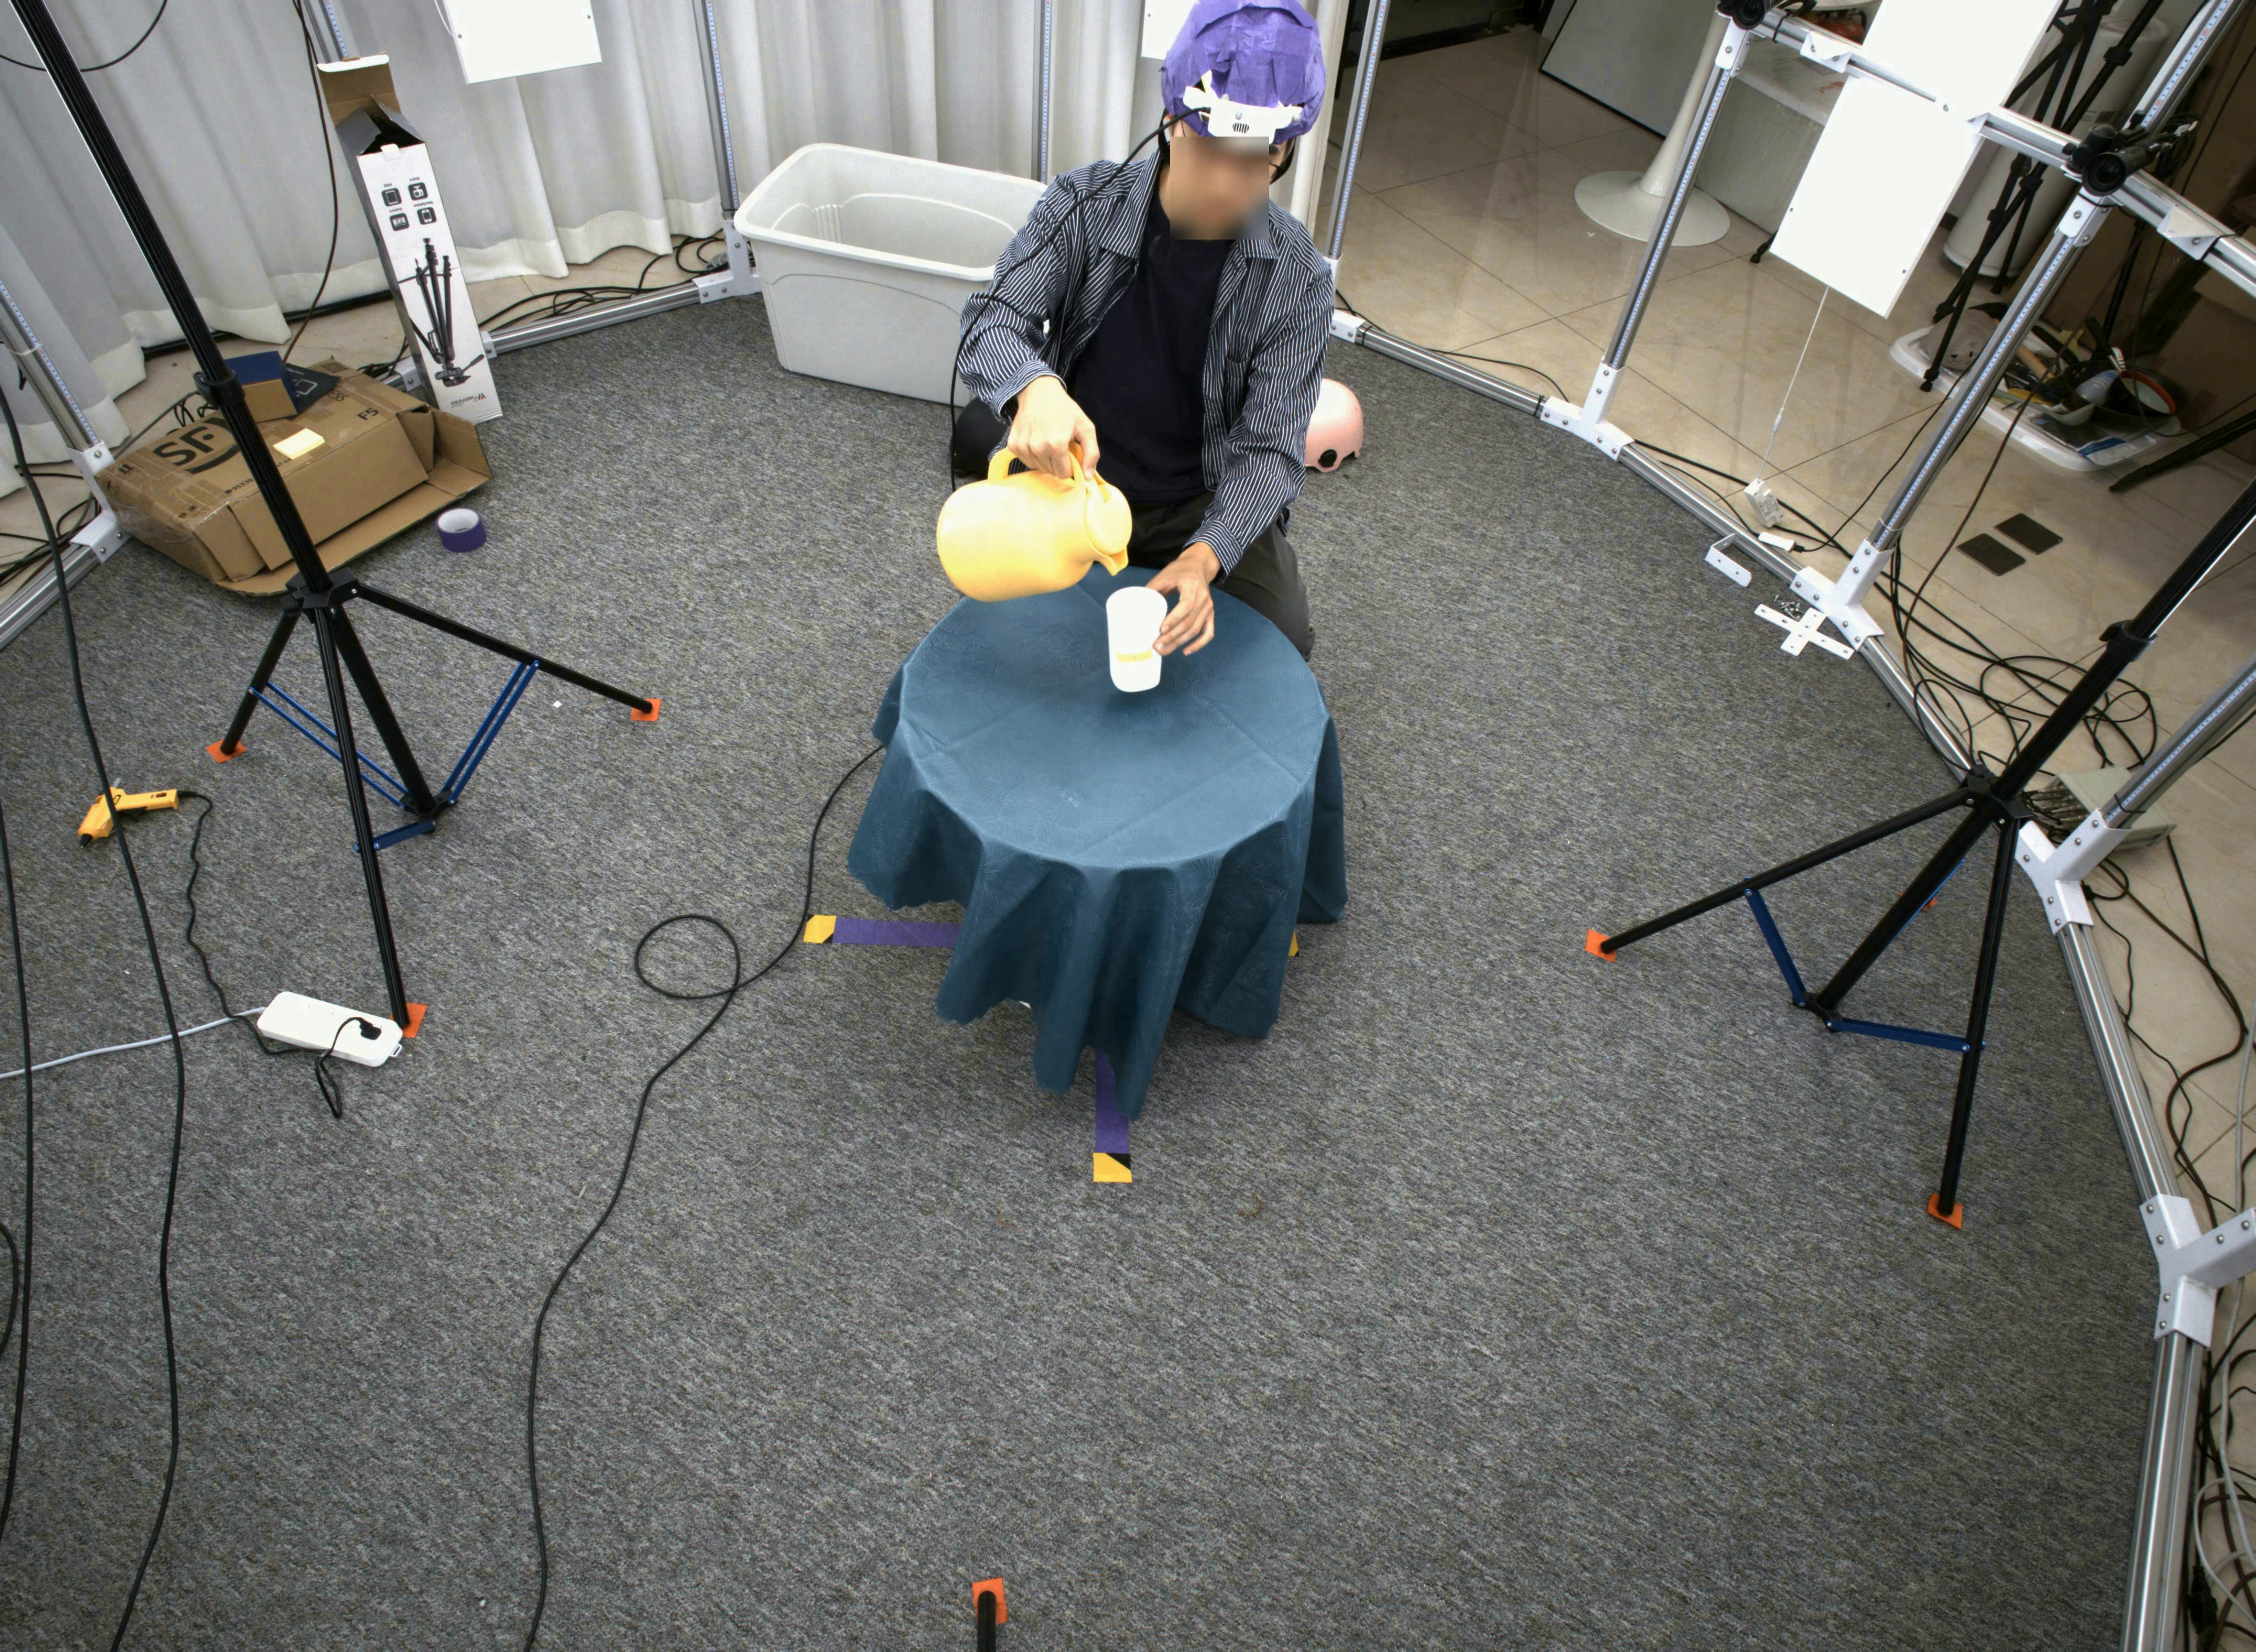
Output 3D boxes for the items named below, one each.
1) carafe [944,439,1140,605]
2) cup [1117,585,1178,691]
[{"bbox_3d":[-0.114,-0.402,1.706,0.261,0.199,0.166,-2,31,37],"label":"carafe"},{"bbox_3d":[0.025,-0.253,1.744,0.081,0.122,0.084,1,46,-1],"label":"cup"}]
